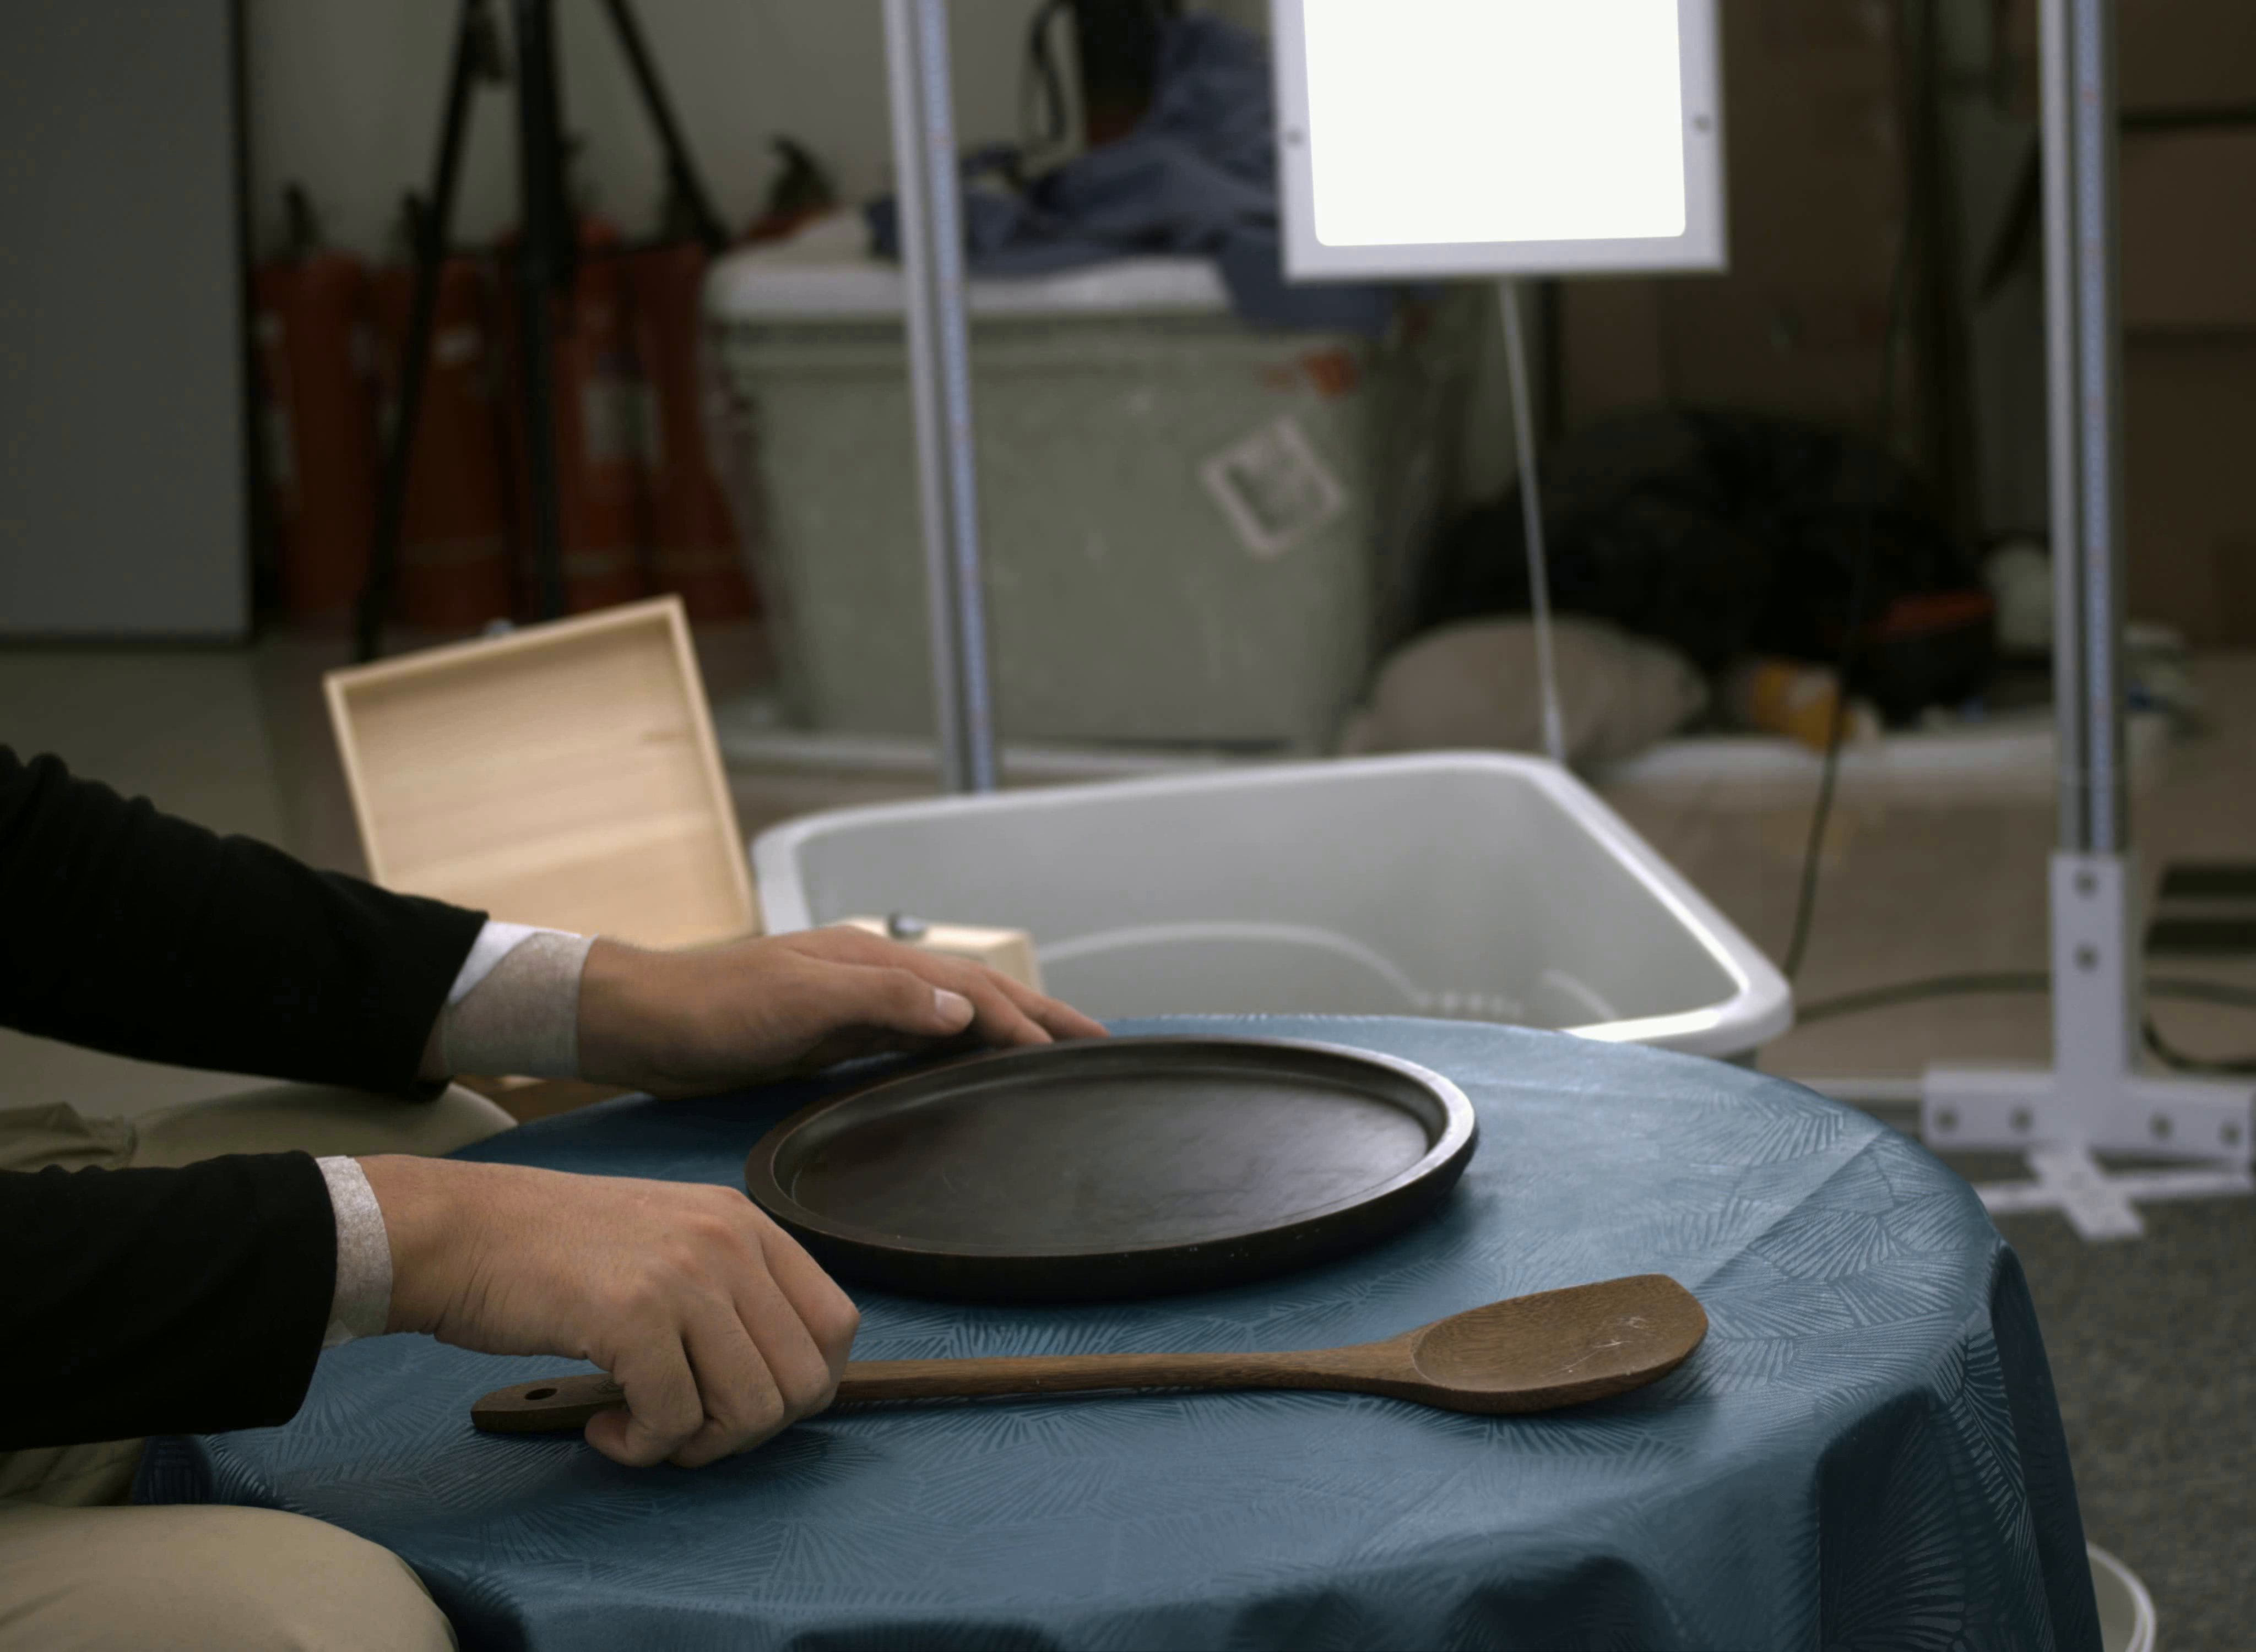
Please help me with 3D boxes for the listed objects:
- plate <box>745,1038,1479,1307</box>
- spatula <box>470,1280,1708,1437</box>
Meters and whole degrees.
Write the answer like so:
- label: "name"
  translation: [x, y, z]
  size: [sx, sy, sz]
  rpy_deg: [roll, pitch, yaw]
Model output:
- label: "plate"
  translation: [-0.005, 0.116, 1.892]
  size: [0.254, 0.029, 0.254]
  rpy_deg: [-5, 15, 0]
- label: "spatula"
  translation: [-0.014, 0.169, 1.700]
  size: [0.387, 0.016, 0.095]
  rpy_deg: [-4, 13, 7]
